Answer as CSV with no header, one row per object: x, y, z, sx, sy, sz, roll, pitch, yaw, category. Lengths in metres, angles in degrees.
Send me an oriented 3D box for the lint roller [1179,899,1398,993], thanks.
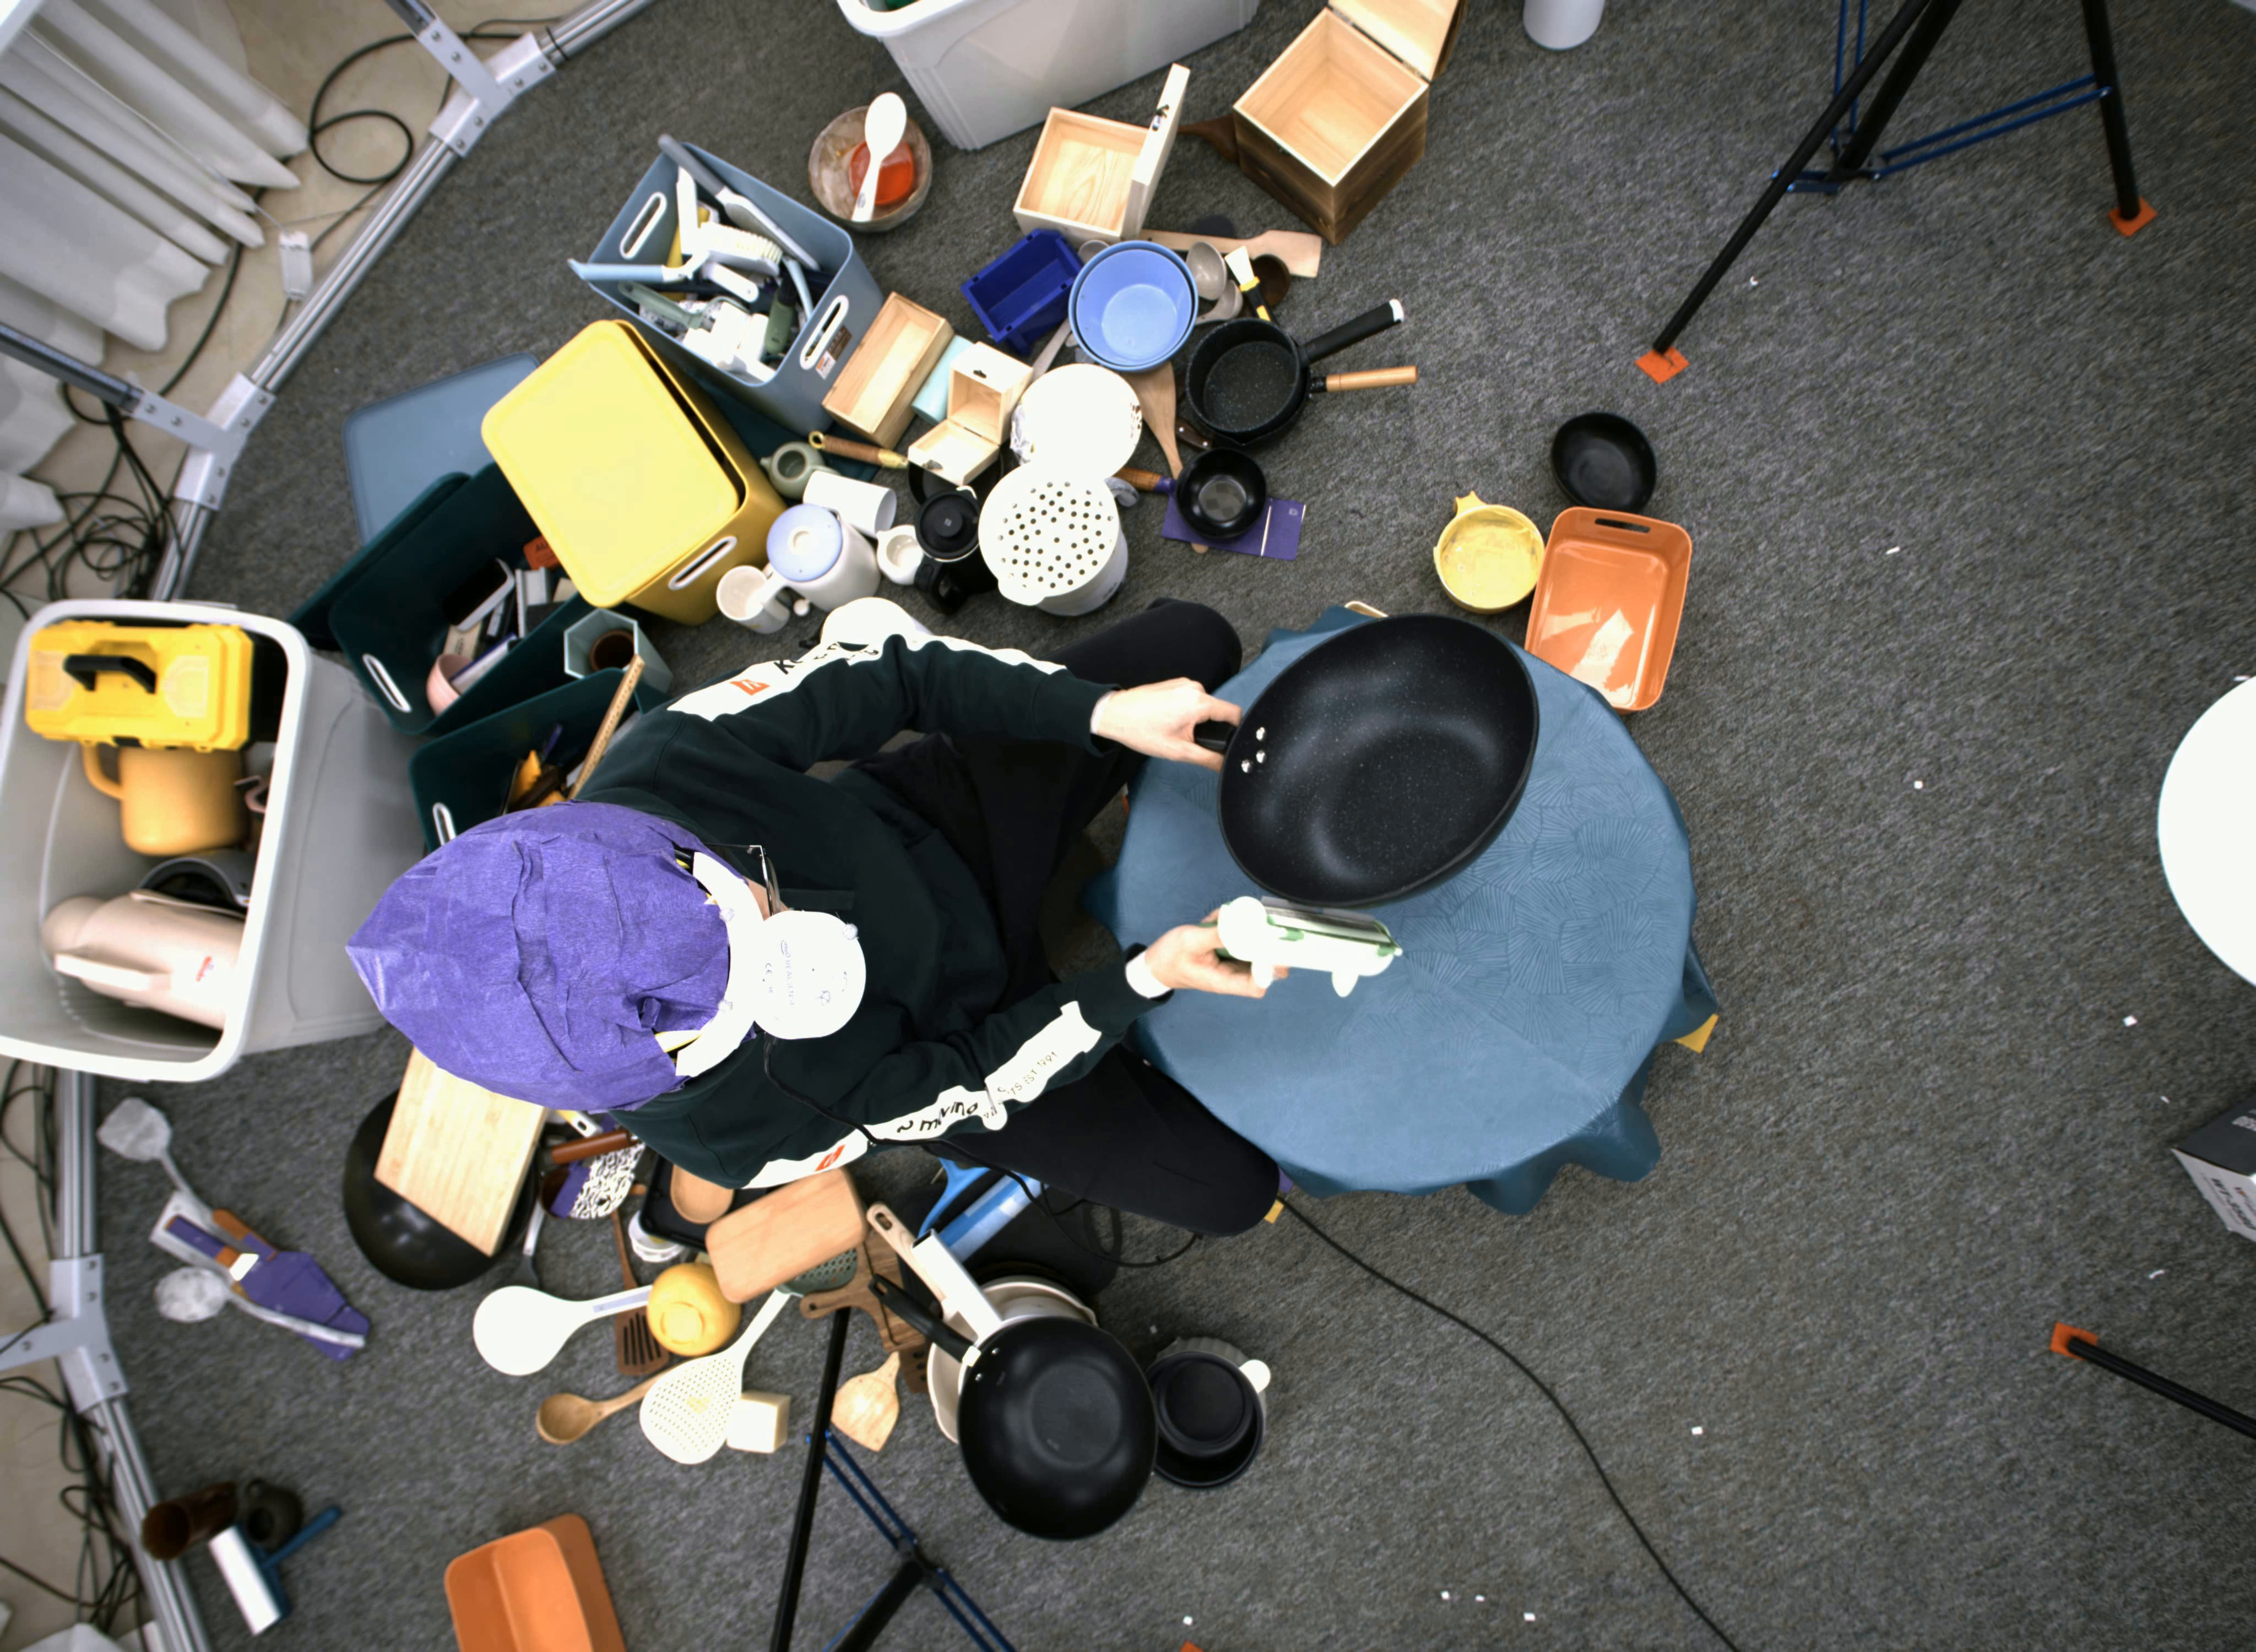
0.120,0.117,1.266,0.186,0.198,0.081,-19,70,41,lint roller

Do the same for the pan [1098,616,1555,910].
0.175,-0.062,1.292,0.478,0.113,0.305,10,66,41,pan
